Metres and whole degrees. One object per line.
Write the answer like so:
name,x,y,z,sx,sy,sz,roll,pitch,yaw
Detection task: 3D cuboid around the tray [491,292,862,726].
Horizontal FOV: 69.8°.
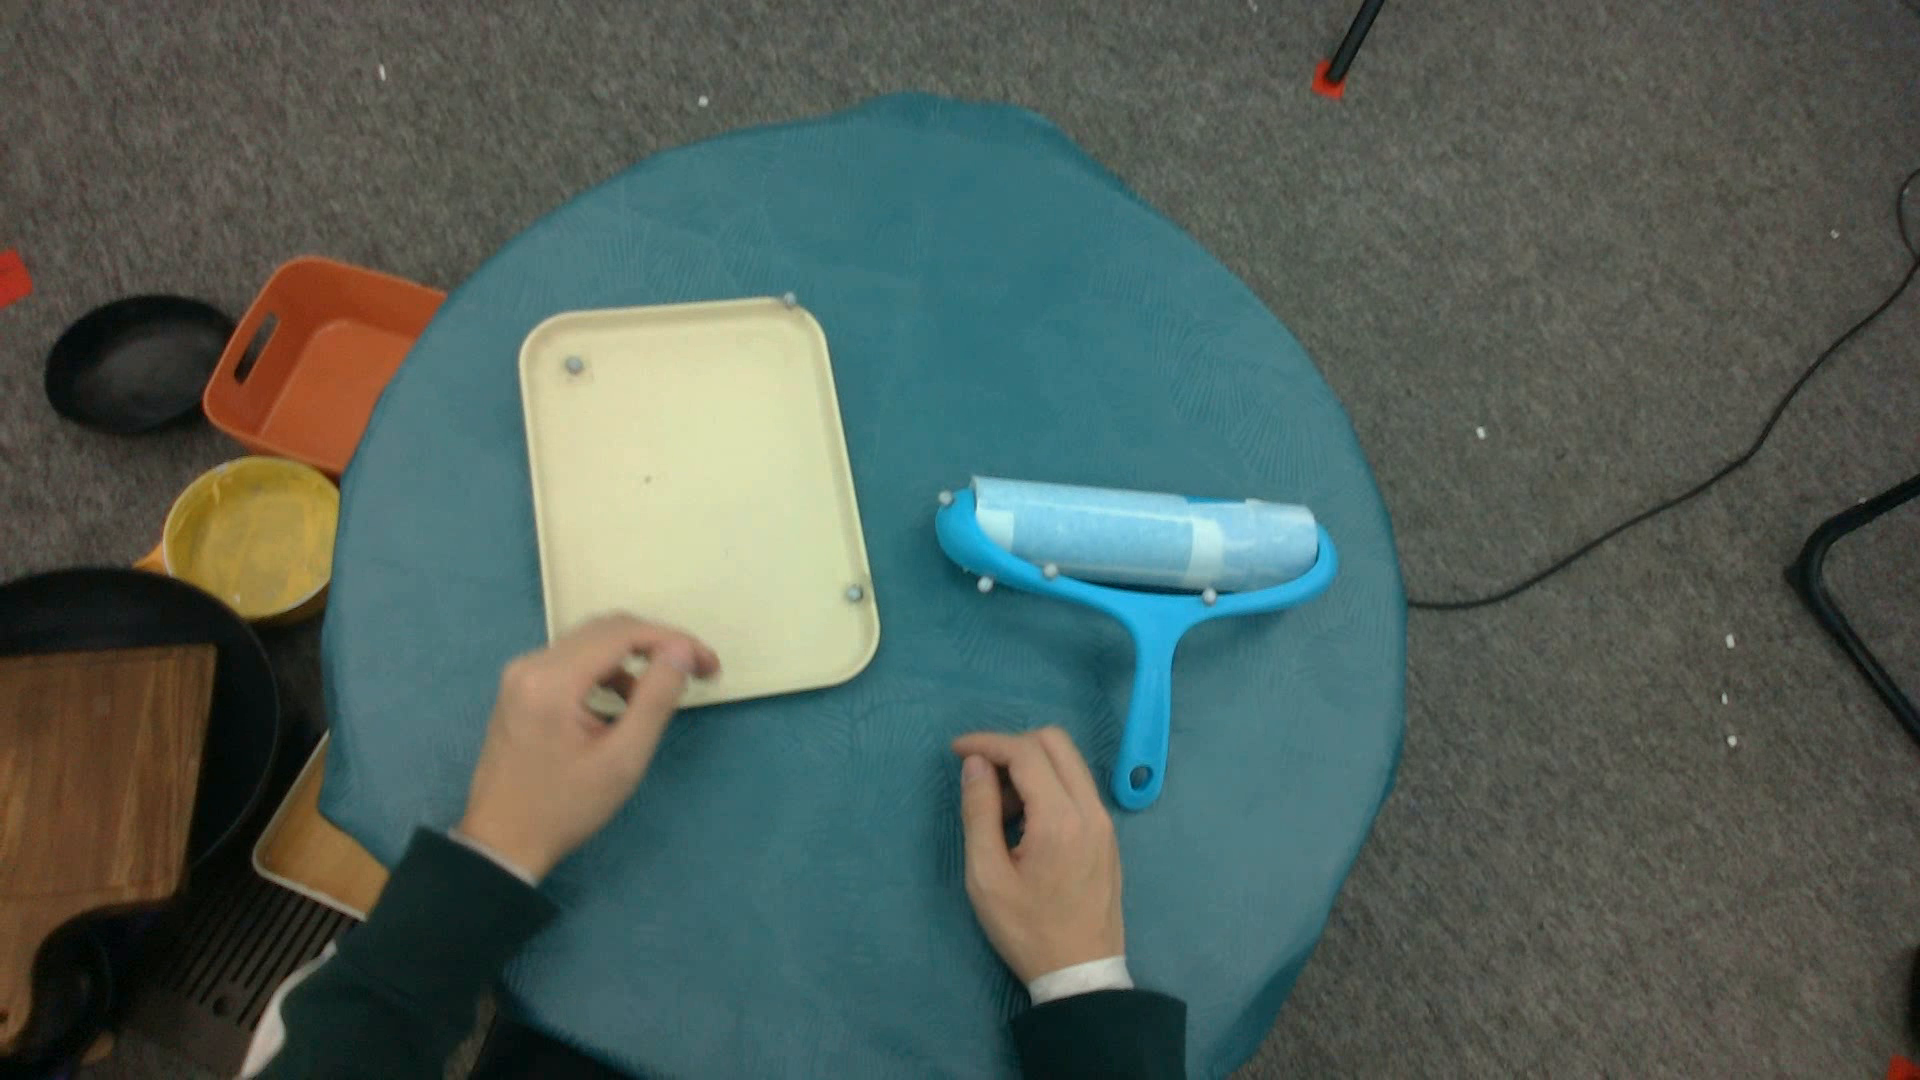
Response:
tray,-0.156,-0.023,0.752,0.171,0.017,0.240,-9,71,-14

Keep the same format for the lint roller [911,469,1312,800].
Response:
lint roller,0.090,0.046,0.751,0.229,0.067,0.181,1,68,-12
